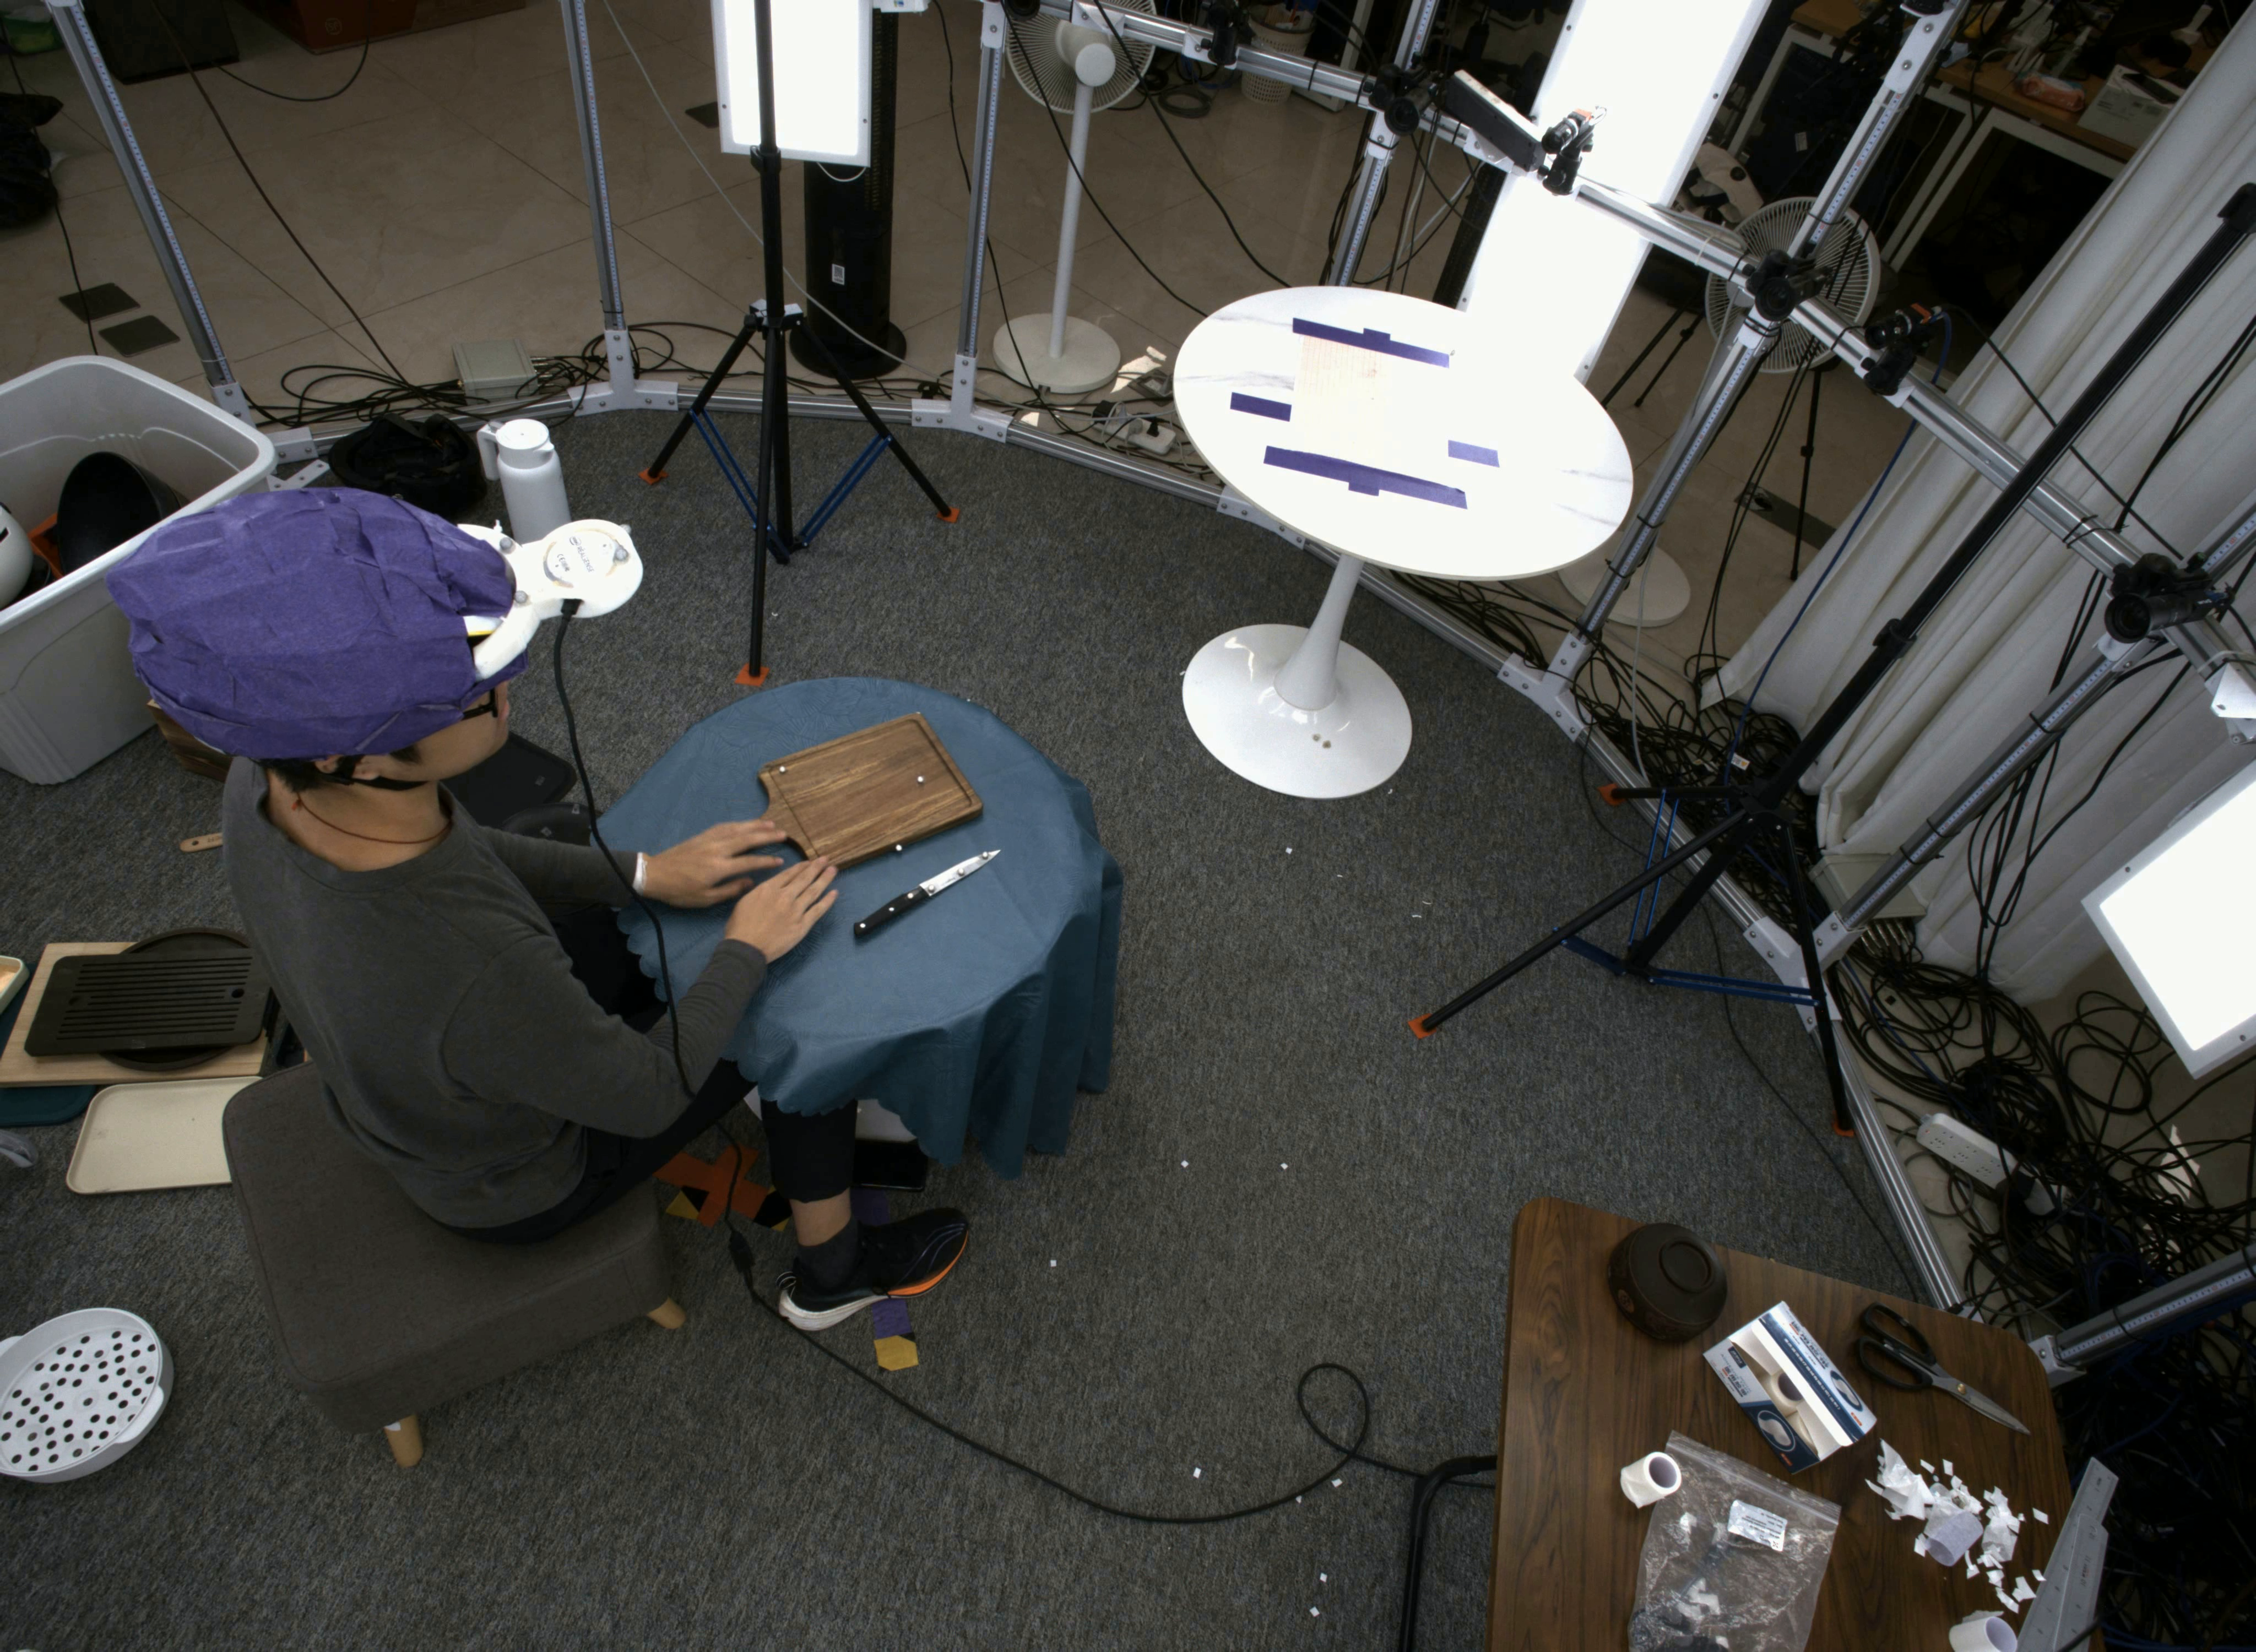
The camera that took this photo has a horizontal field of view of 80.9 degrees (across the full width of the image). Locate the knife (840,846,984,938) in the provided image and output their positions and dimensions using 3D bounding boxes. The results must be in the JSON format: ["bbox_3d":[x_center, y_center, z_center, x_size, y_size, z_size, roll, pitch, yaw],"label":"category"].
[{"bbox_3d":[-0.277,0.082,1.705,0.239,0.016,0.024,-33,69,-35],"label":"knife"}]

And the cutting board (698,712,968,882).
[{"bbox_3d":[-0.412,-0.028,1.746,0.354,0.023,0.196,-24,63,-28],"label":"cutting board"}]
